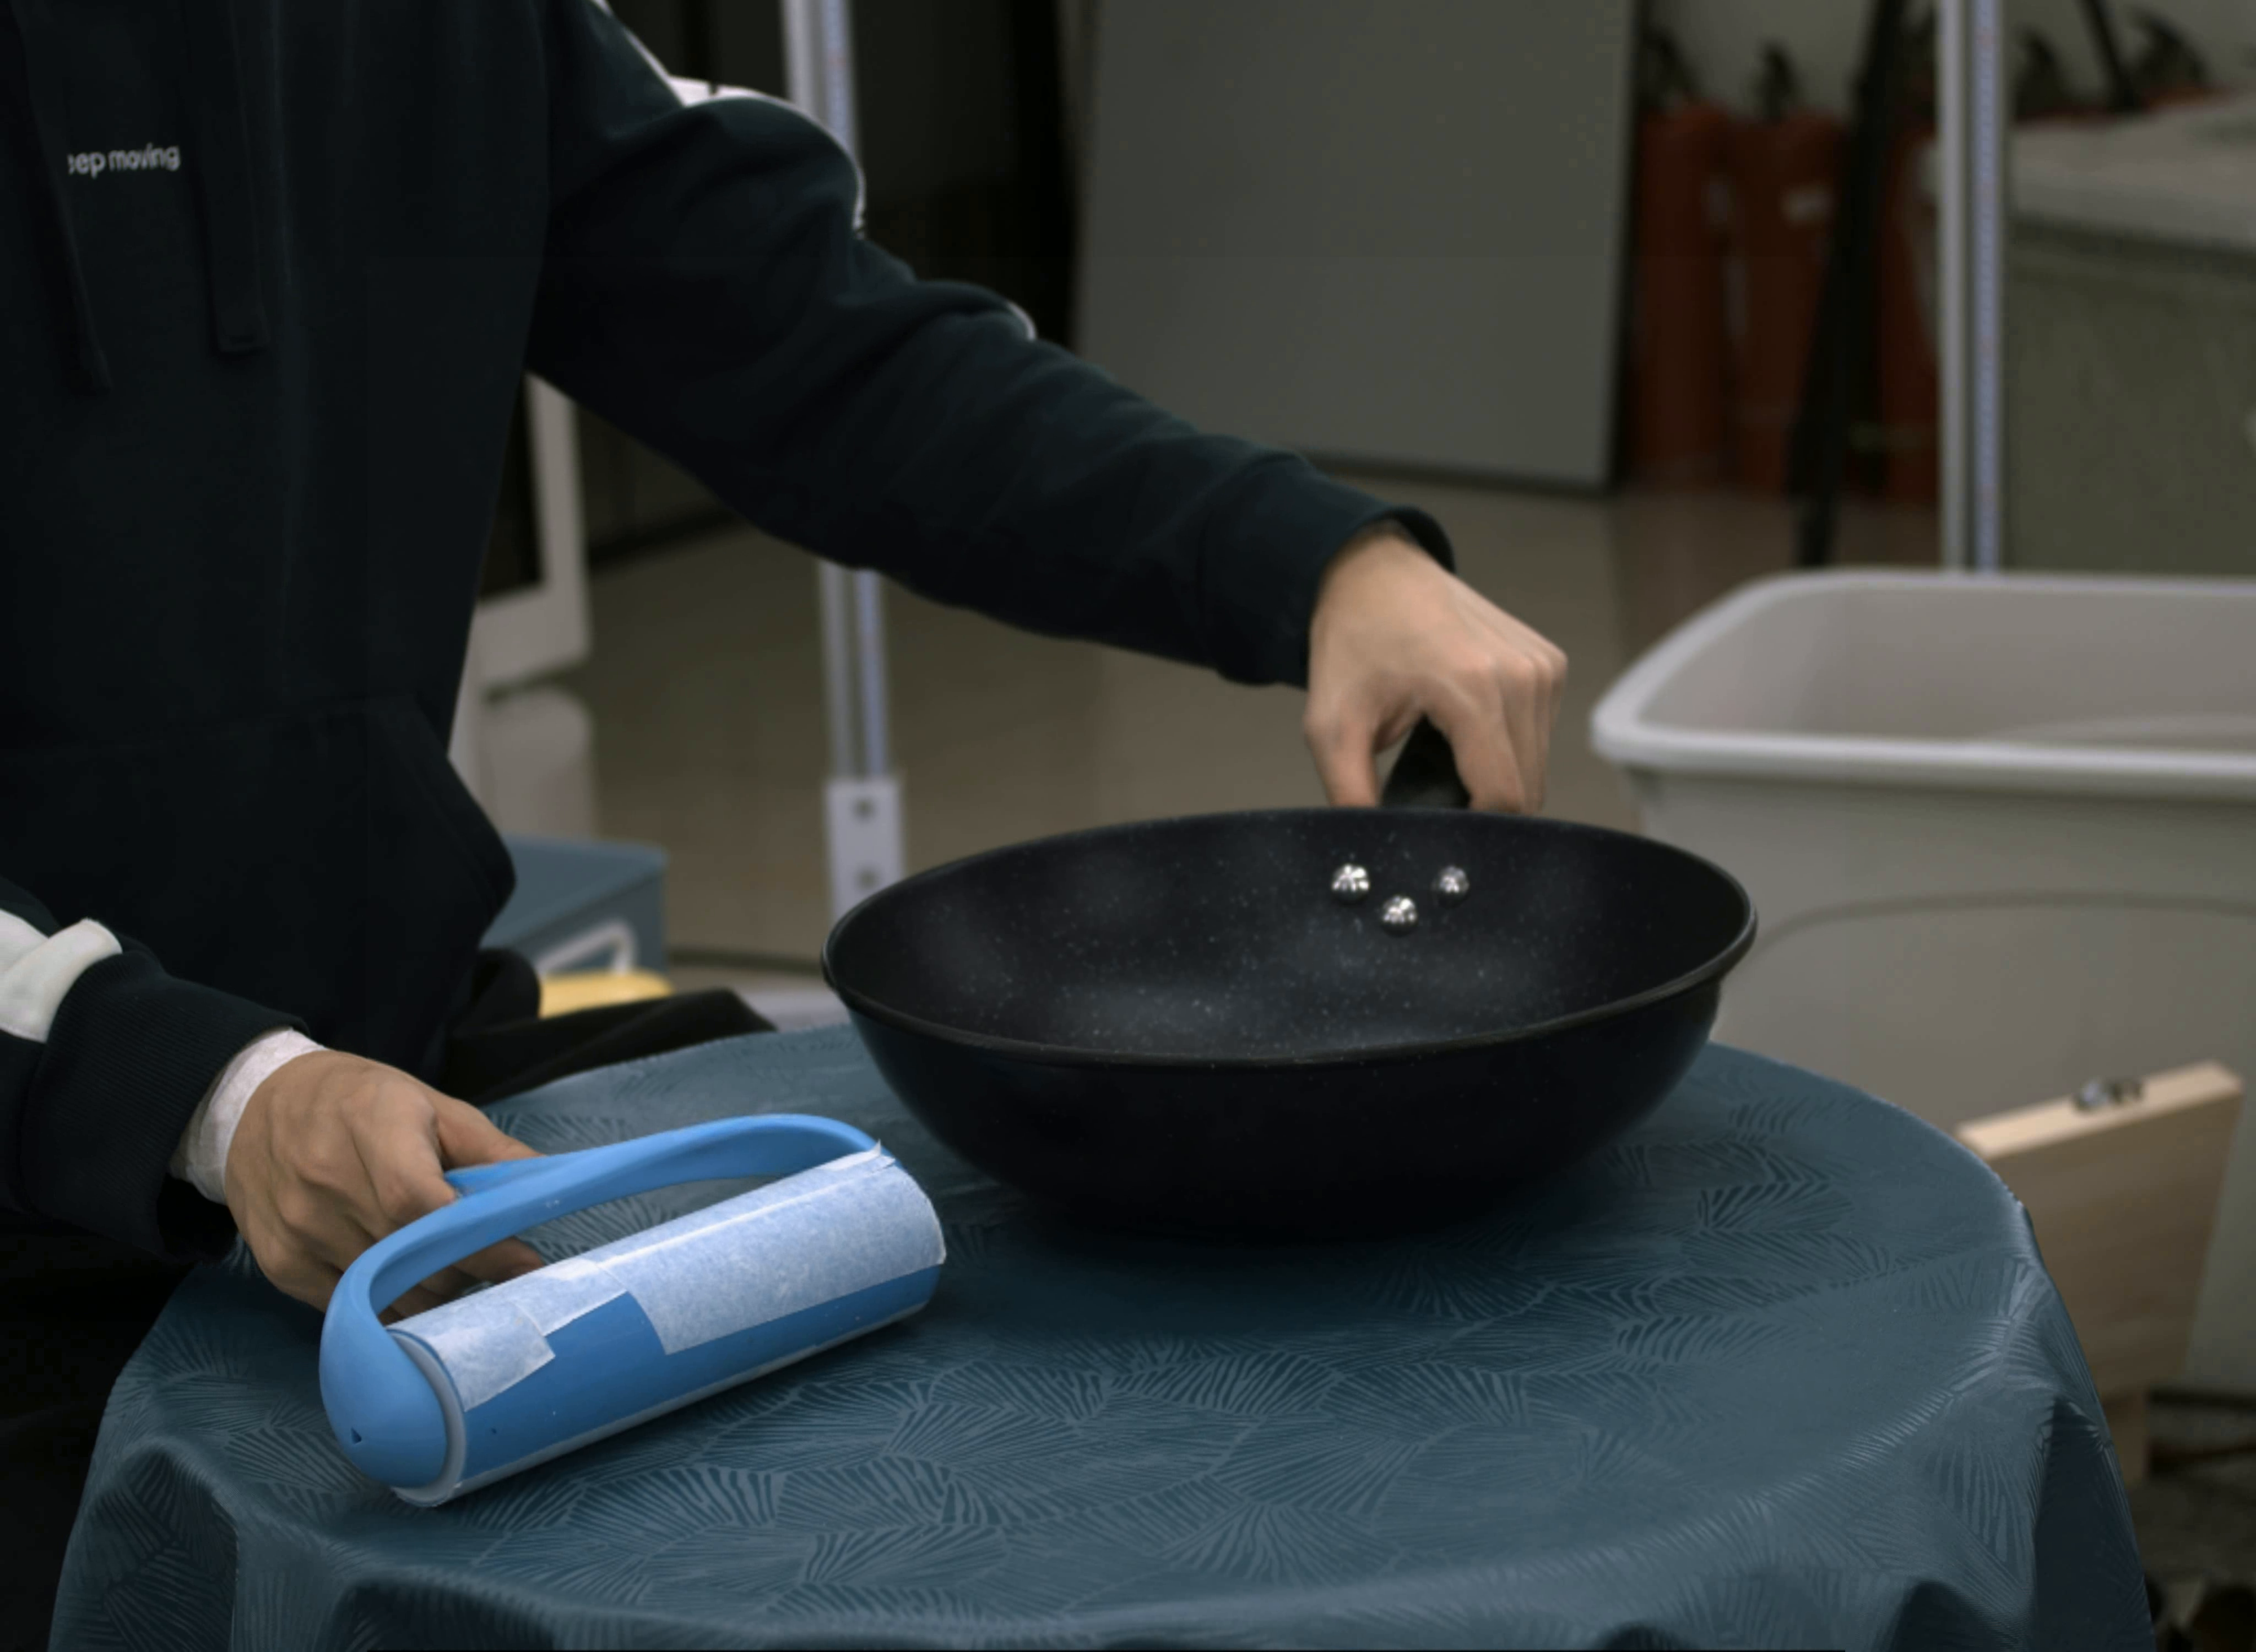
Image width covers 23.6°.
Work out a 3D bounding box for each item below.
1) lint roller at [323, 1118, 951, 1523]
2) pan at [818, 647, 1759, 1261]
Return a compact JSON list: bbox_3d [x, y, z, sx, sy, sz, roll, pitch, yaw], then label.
[{"bbox_3d":[-0.181,0.136,1.631,0.181,0.068,0.225,14,24,38],"label":"lint roller"},{"bbox_3d":[0.077,0.044,1.838,0.309,0.113,0.473,2,15,17],"label":"pan"}]
